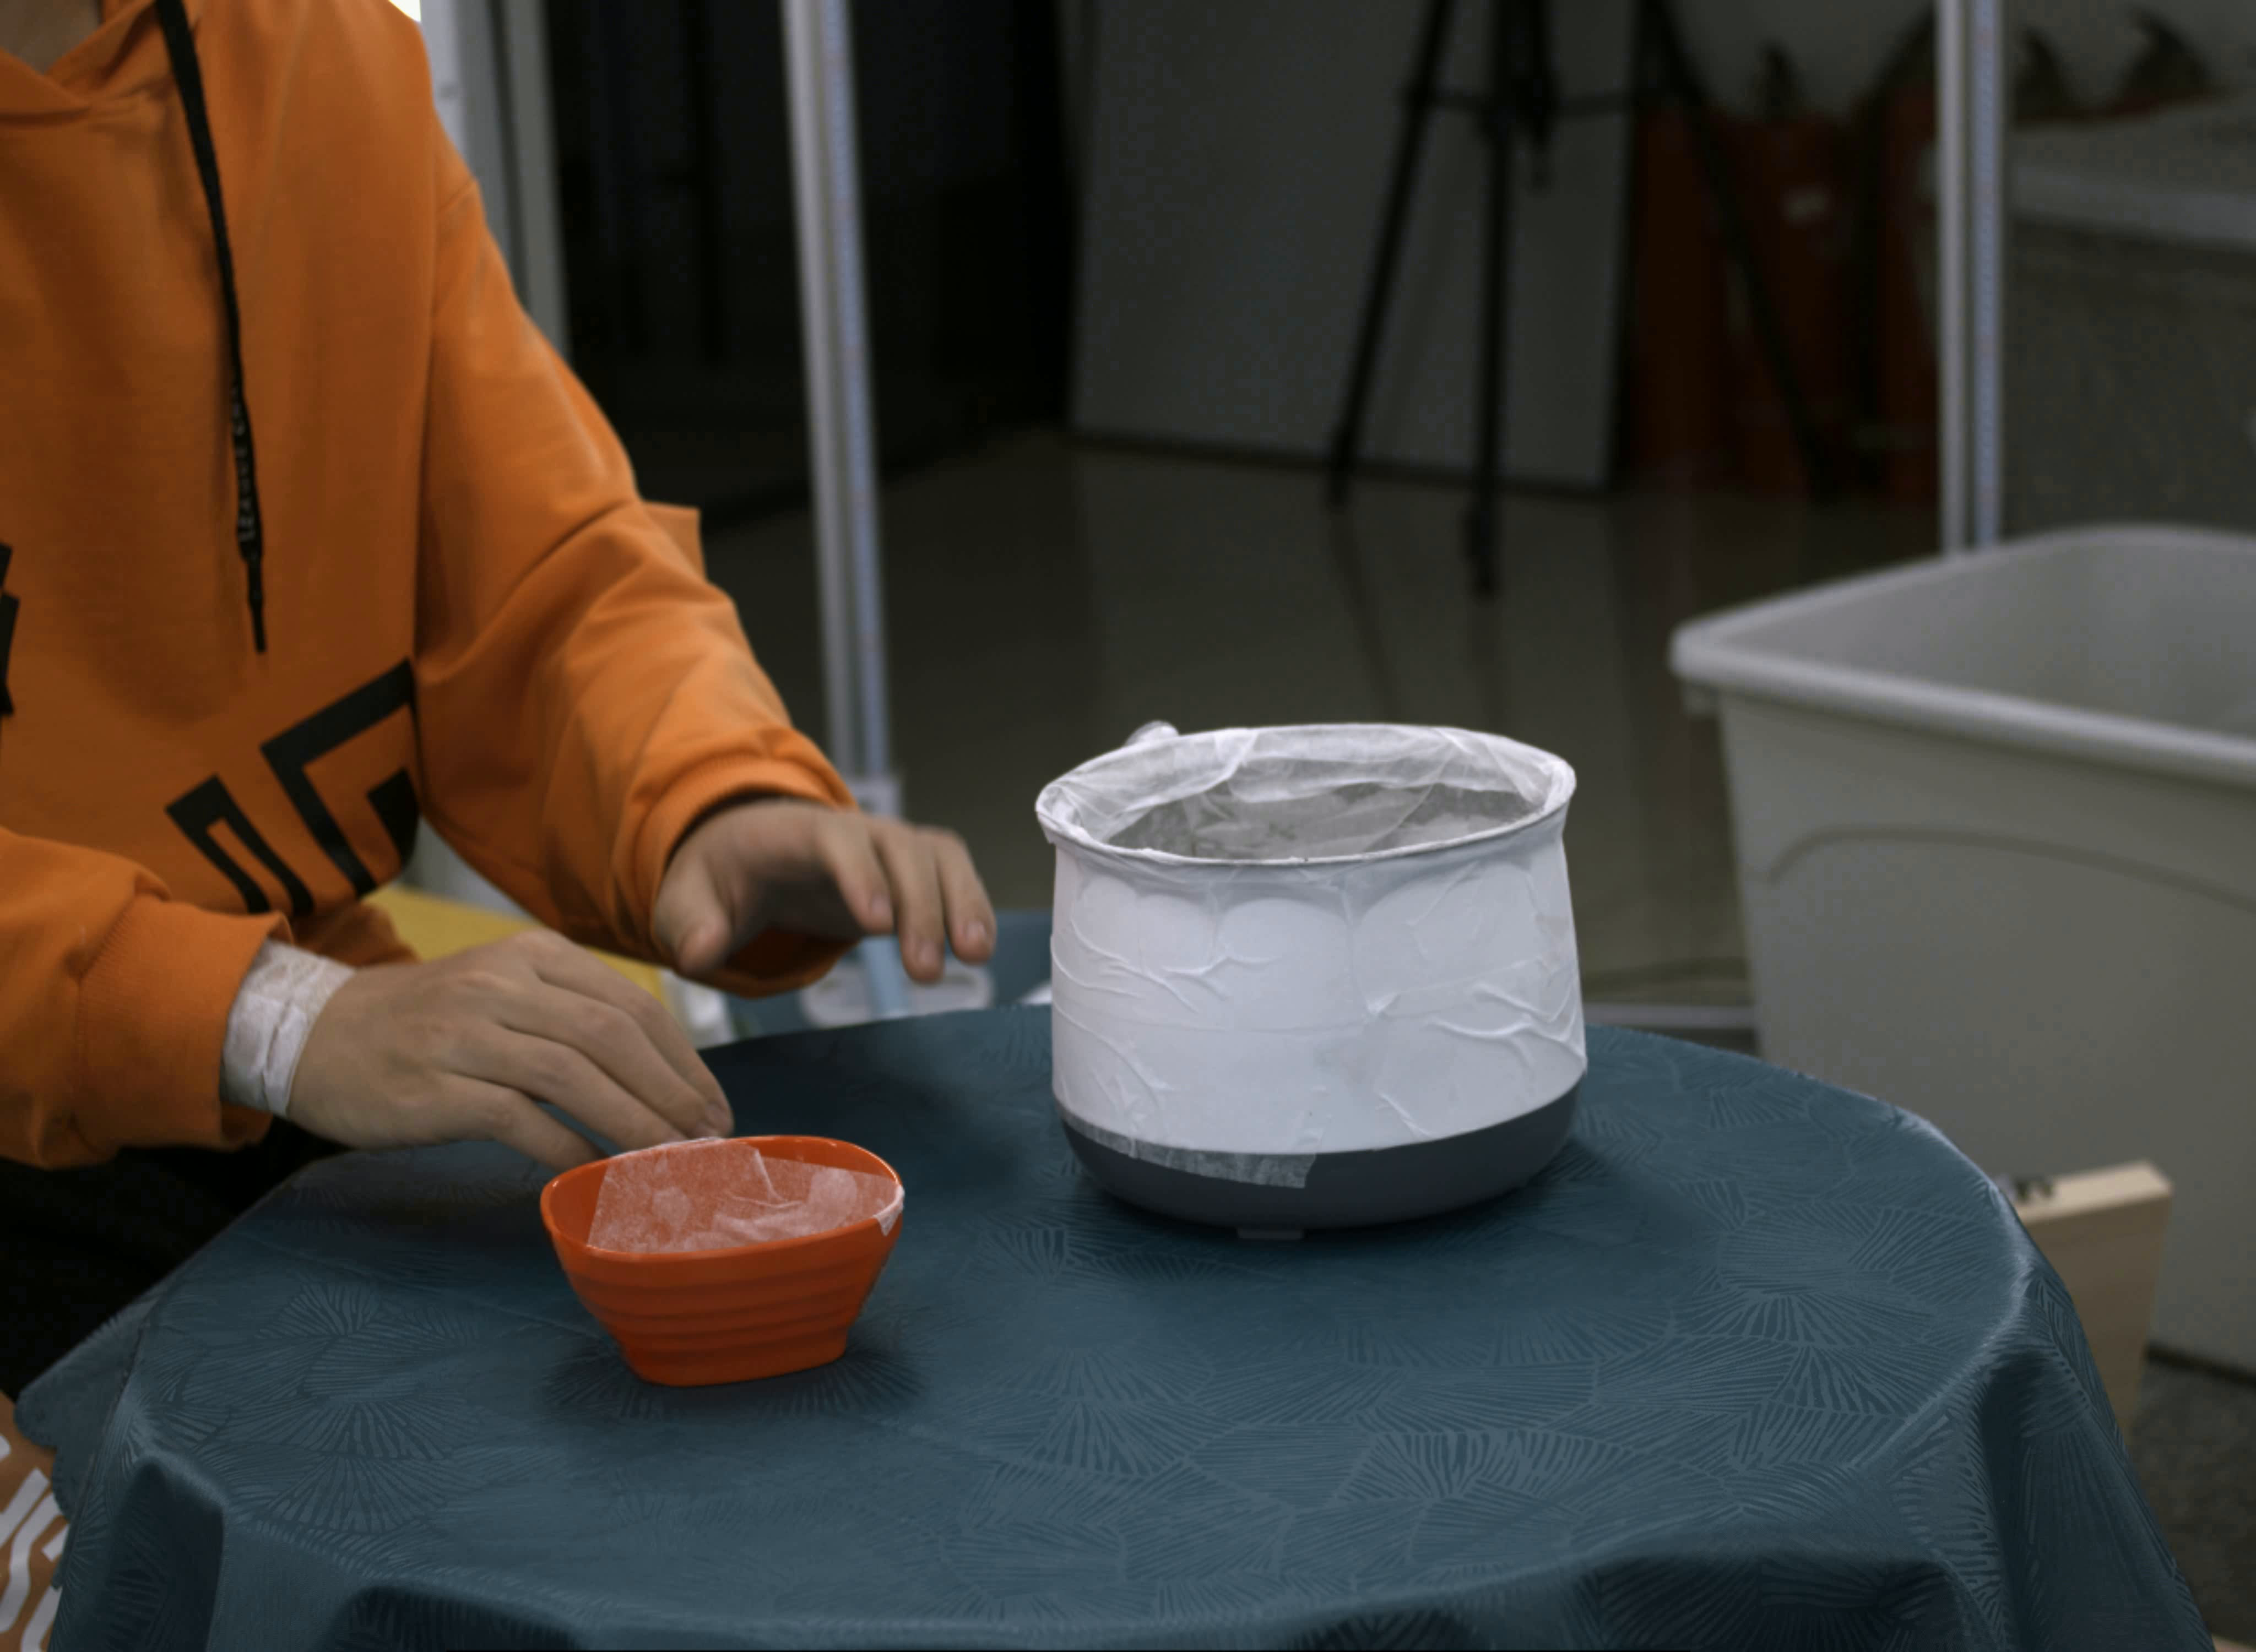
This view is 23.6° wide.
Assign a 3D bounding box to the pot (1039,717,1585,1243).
[{"bbox_3d":[0.047,0.044,1.782,0.175,0.138,0.236,-11,15,-28],"label":"pot"}]

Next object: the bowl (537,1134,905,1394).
[{"bbox_3d":[-0.122,0.135,1.643,0.117,0.052,0.119,-5,15,0],"label":"bowl"}]
